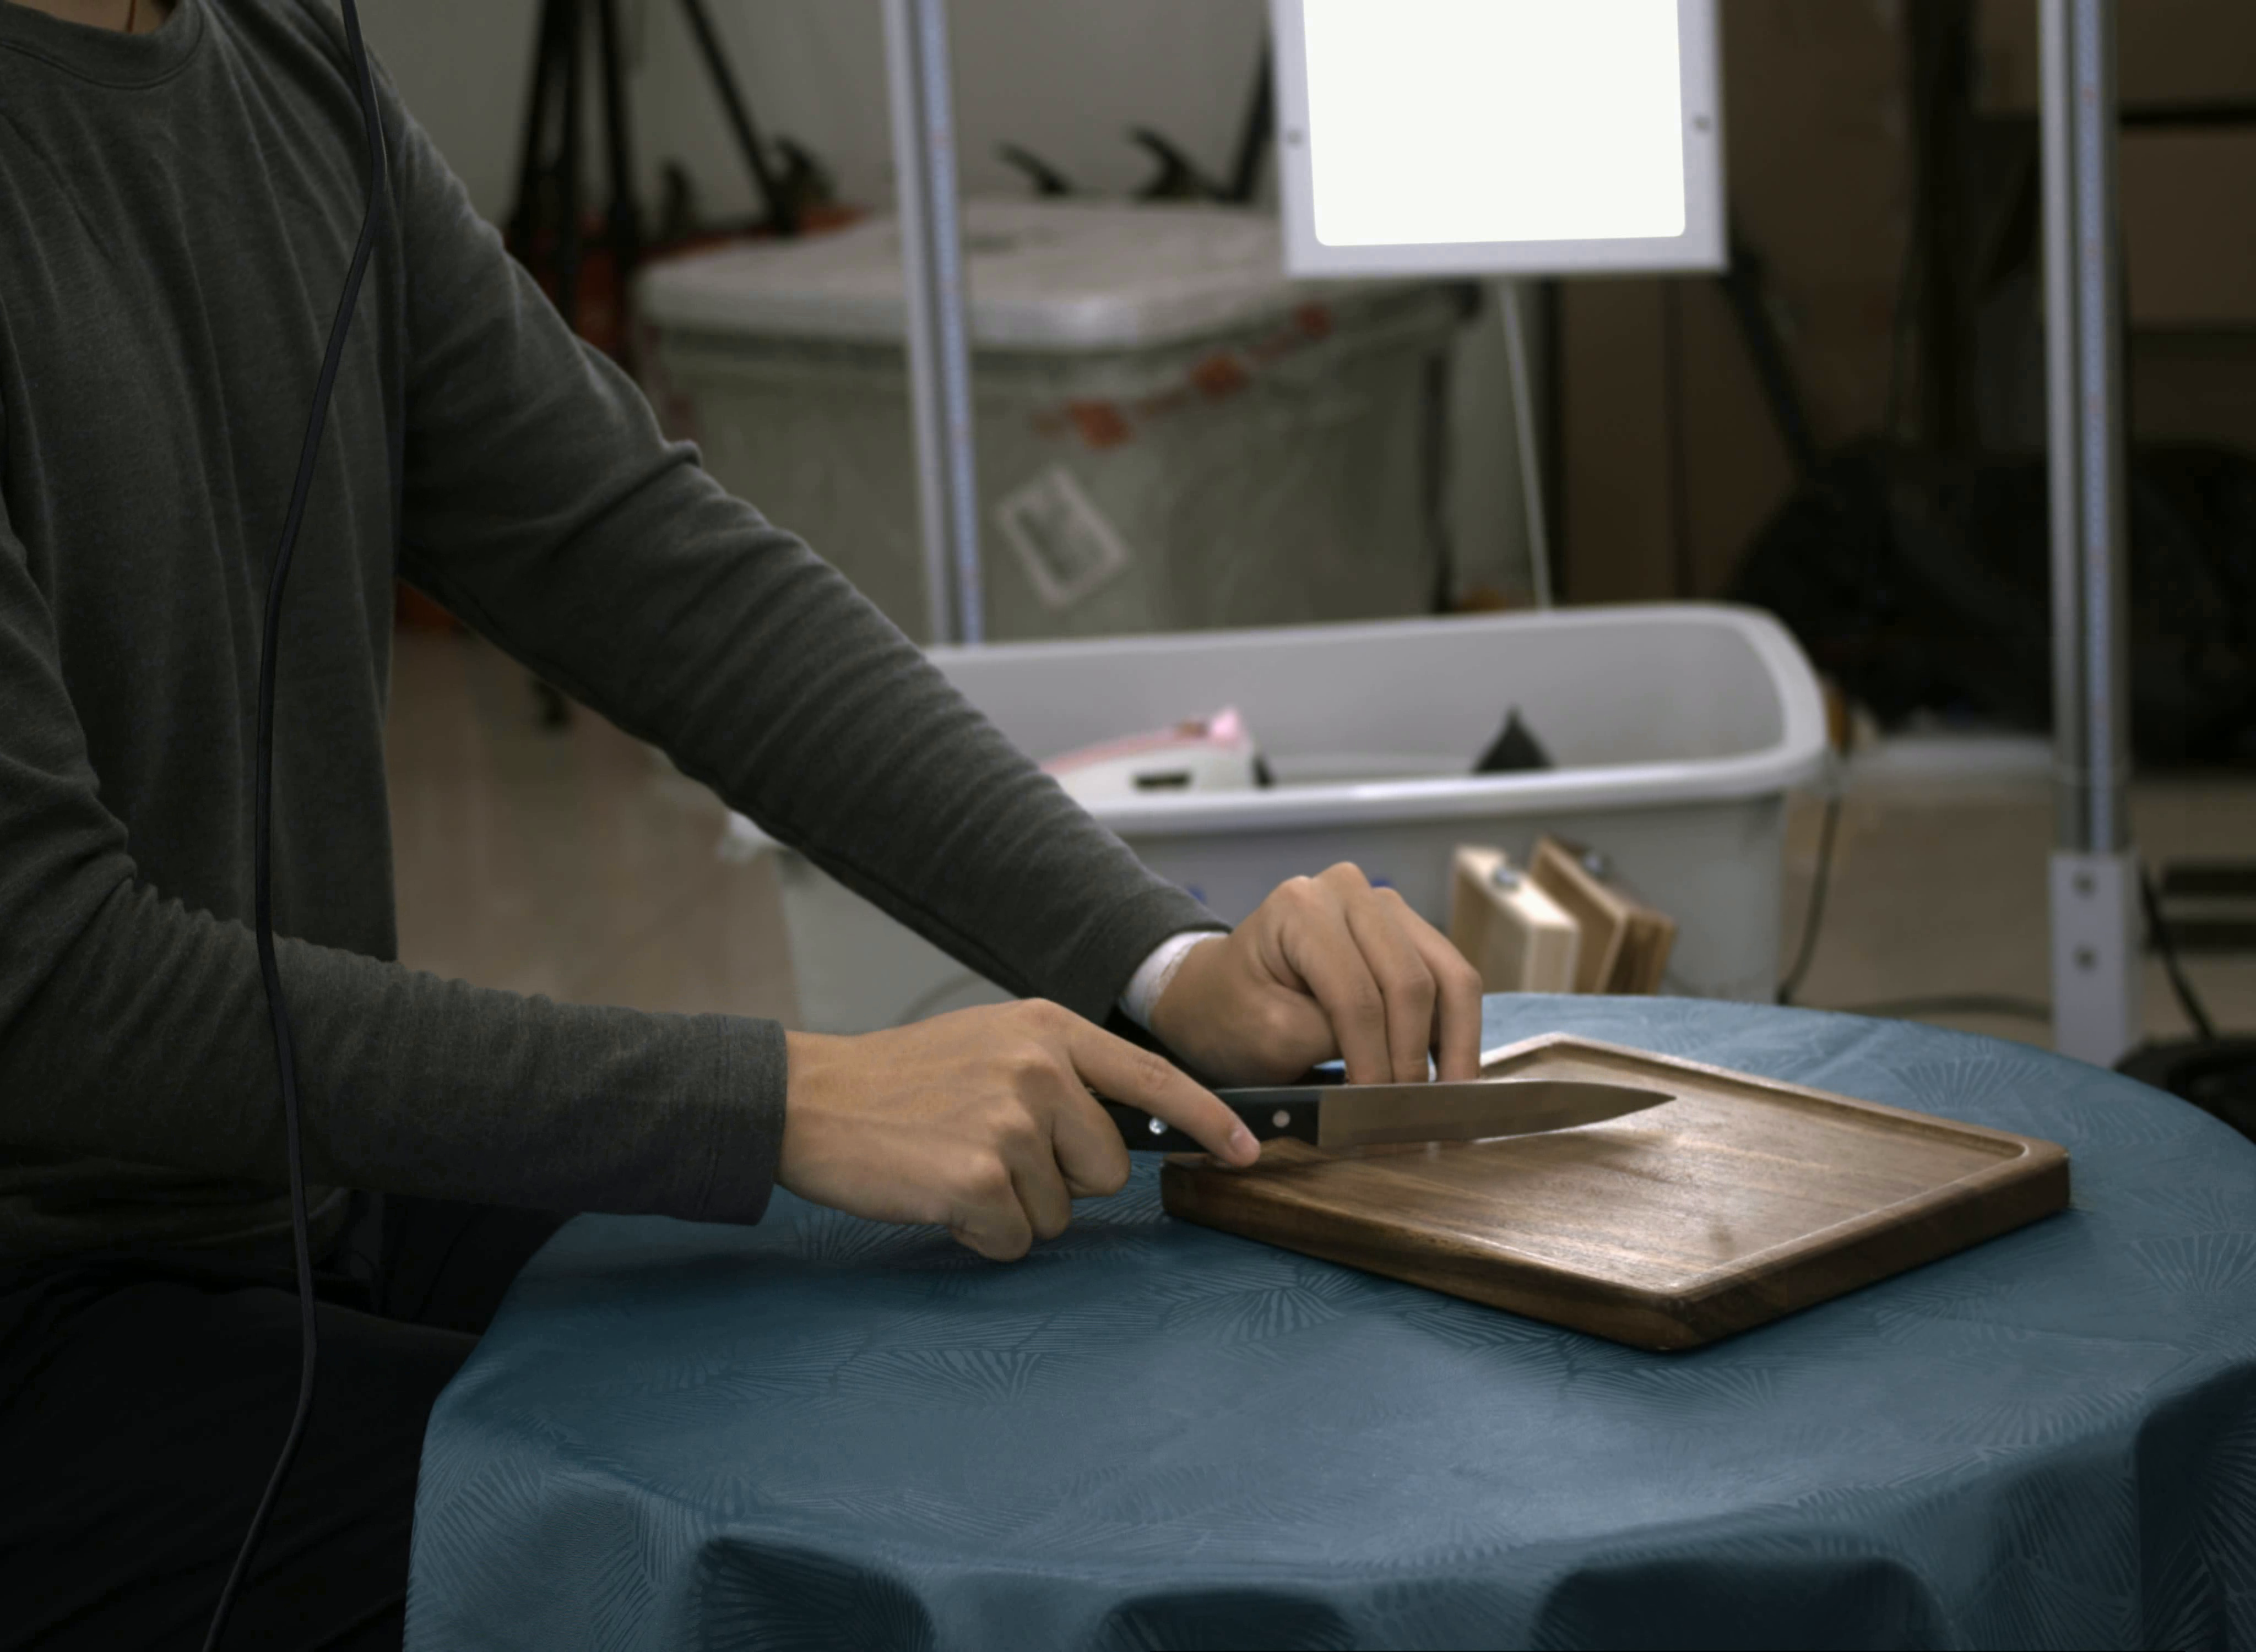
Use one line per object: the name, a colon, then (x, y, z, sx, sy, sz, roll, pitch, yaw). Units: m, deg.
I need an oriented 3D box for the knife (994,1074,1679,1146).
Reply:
knife: (0.072, 0.096, 1.864, 0.236, 0.024, 0.016, -1, 12, -7)

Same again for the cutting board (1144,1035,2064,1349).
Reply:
cutting board: (0.129, 0.112, 1.873, 0.196, 0.023, 0.359, -15, 16, -37)
